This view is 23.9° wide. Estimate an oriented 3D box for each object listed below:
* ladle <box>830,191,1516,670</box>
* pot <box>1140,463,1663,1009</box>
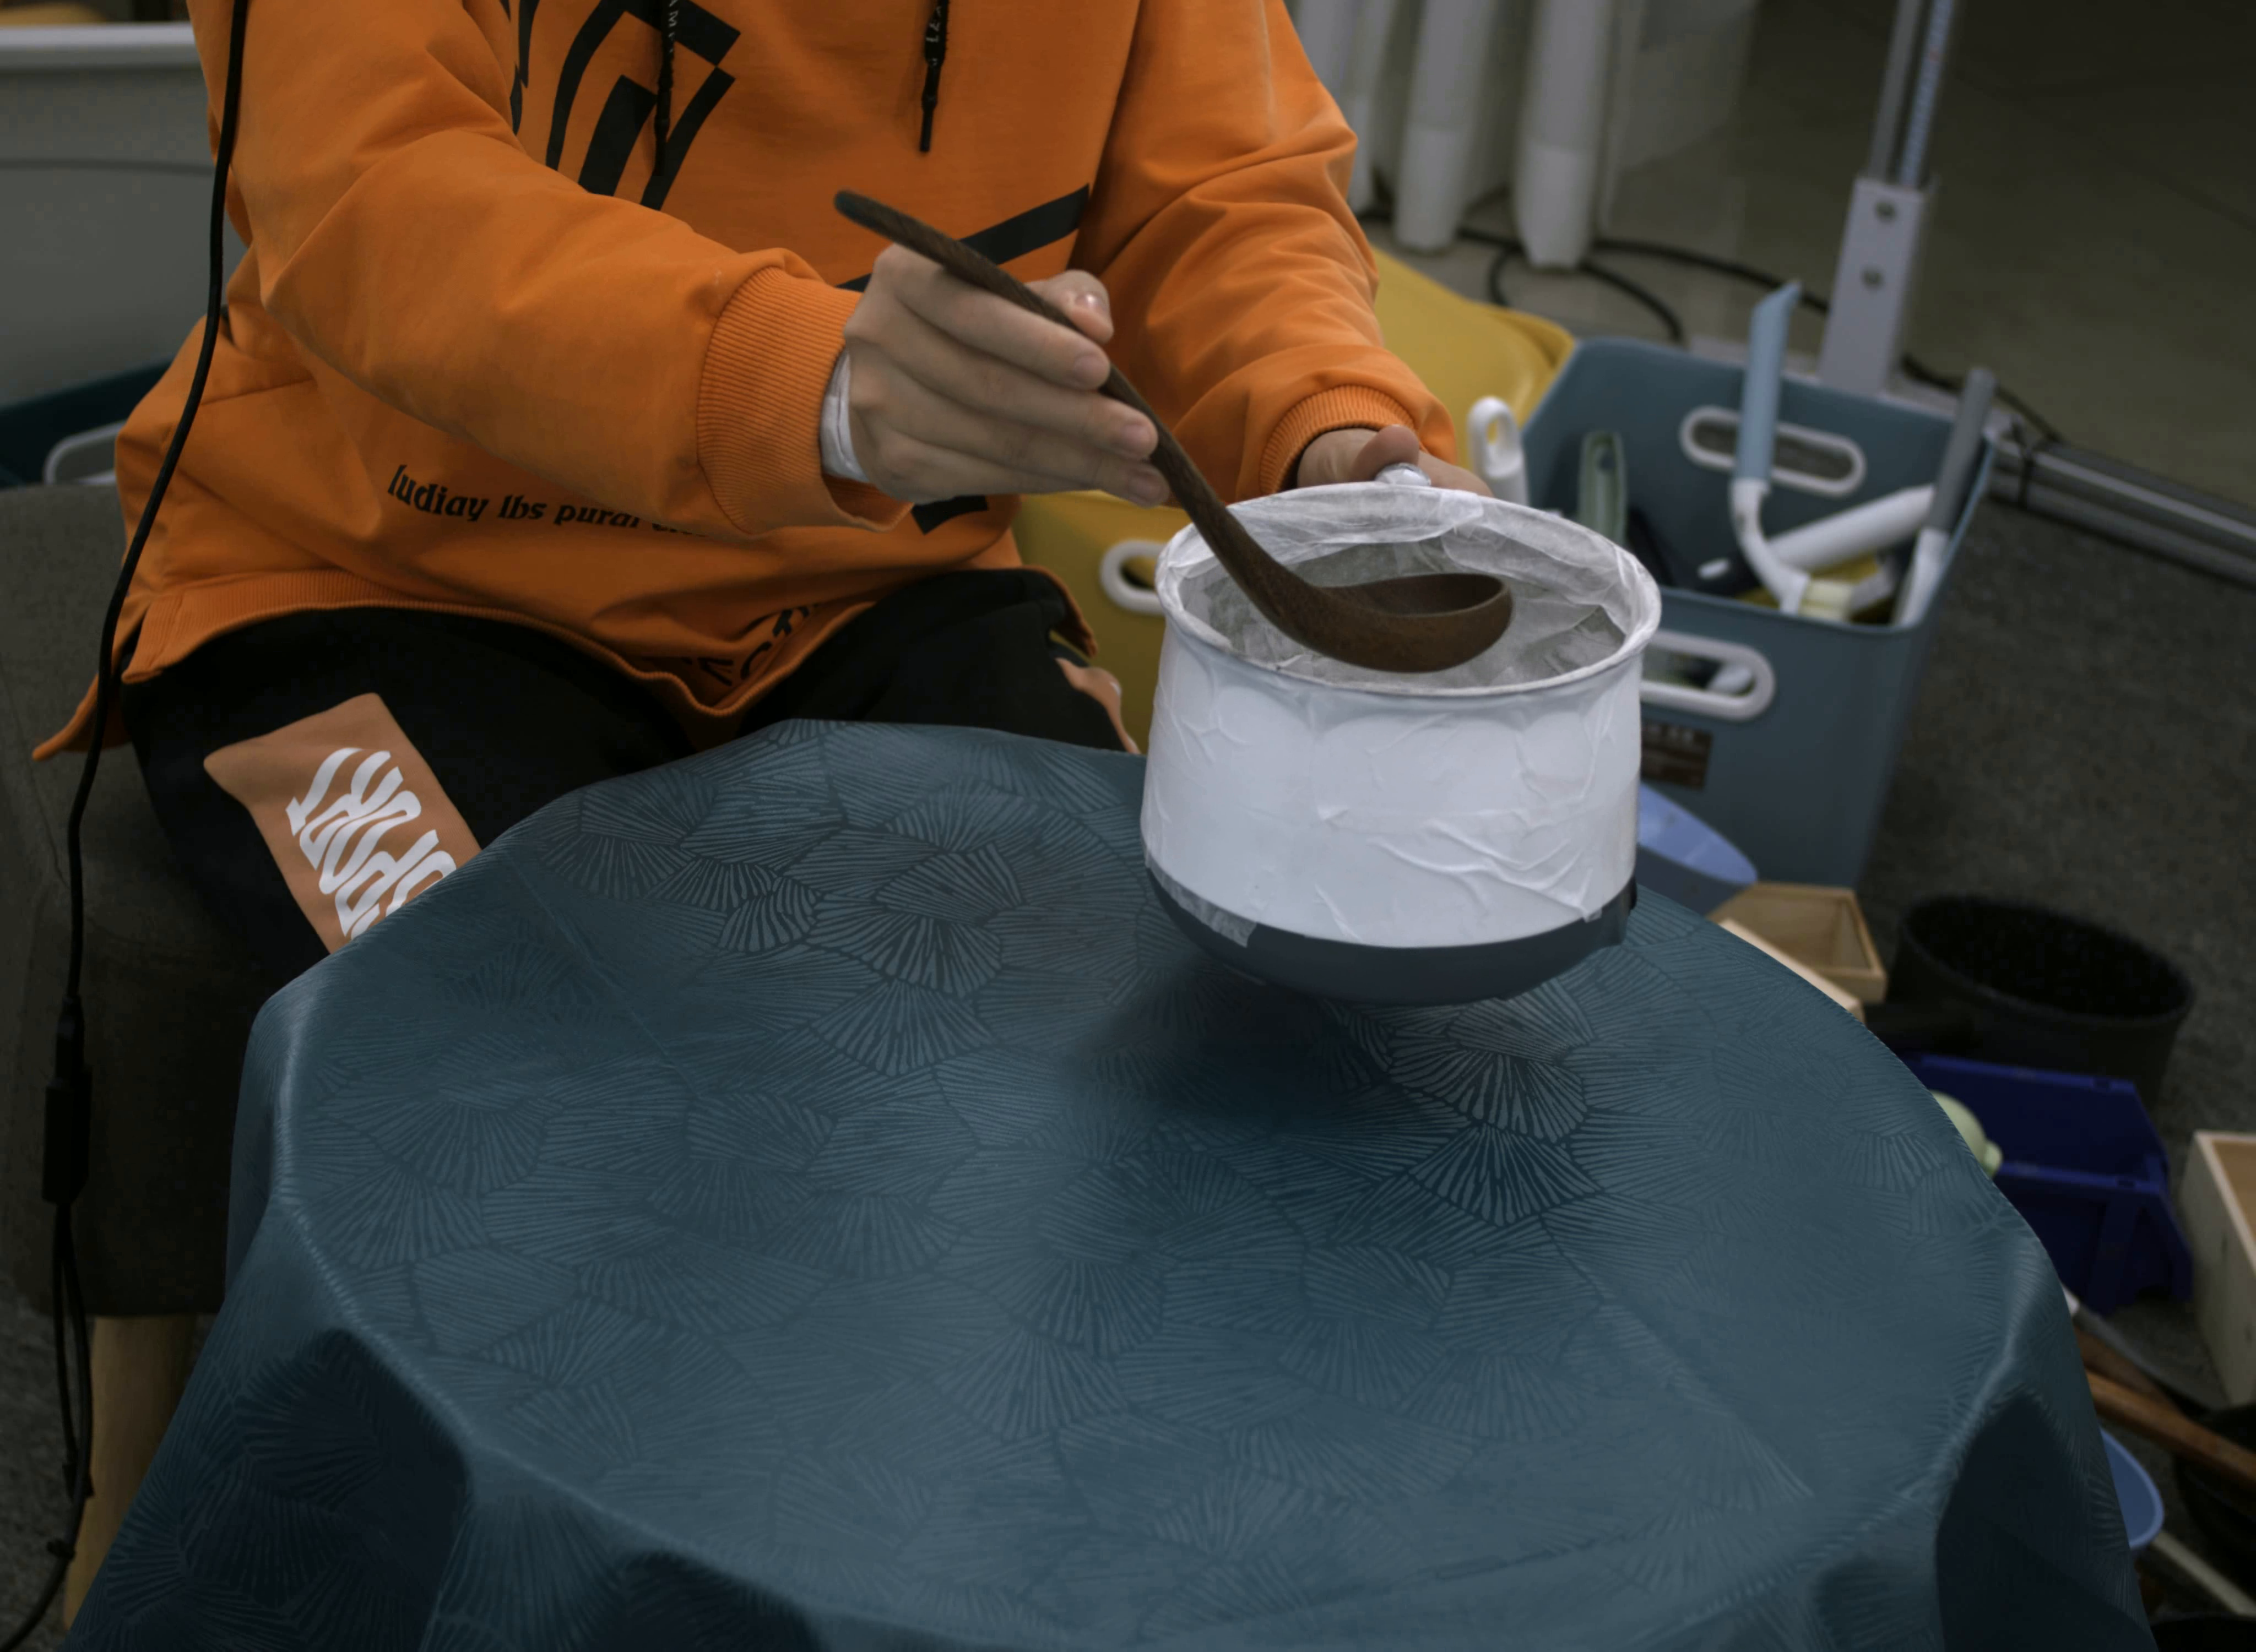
[{"bbox_3d":[0.020,-0.141,1.761,0.272,0.071,0.076,43,-11,-22],"label":"ladle"},{"bbox_3d":[0.094,-0.039,1.895,0.178,0.136,0.235,3,26,-1],"label":"pot"}]
